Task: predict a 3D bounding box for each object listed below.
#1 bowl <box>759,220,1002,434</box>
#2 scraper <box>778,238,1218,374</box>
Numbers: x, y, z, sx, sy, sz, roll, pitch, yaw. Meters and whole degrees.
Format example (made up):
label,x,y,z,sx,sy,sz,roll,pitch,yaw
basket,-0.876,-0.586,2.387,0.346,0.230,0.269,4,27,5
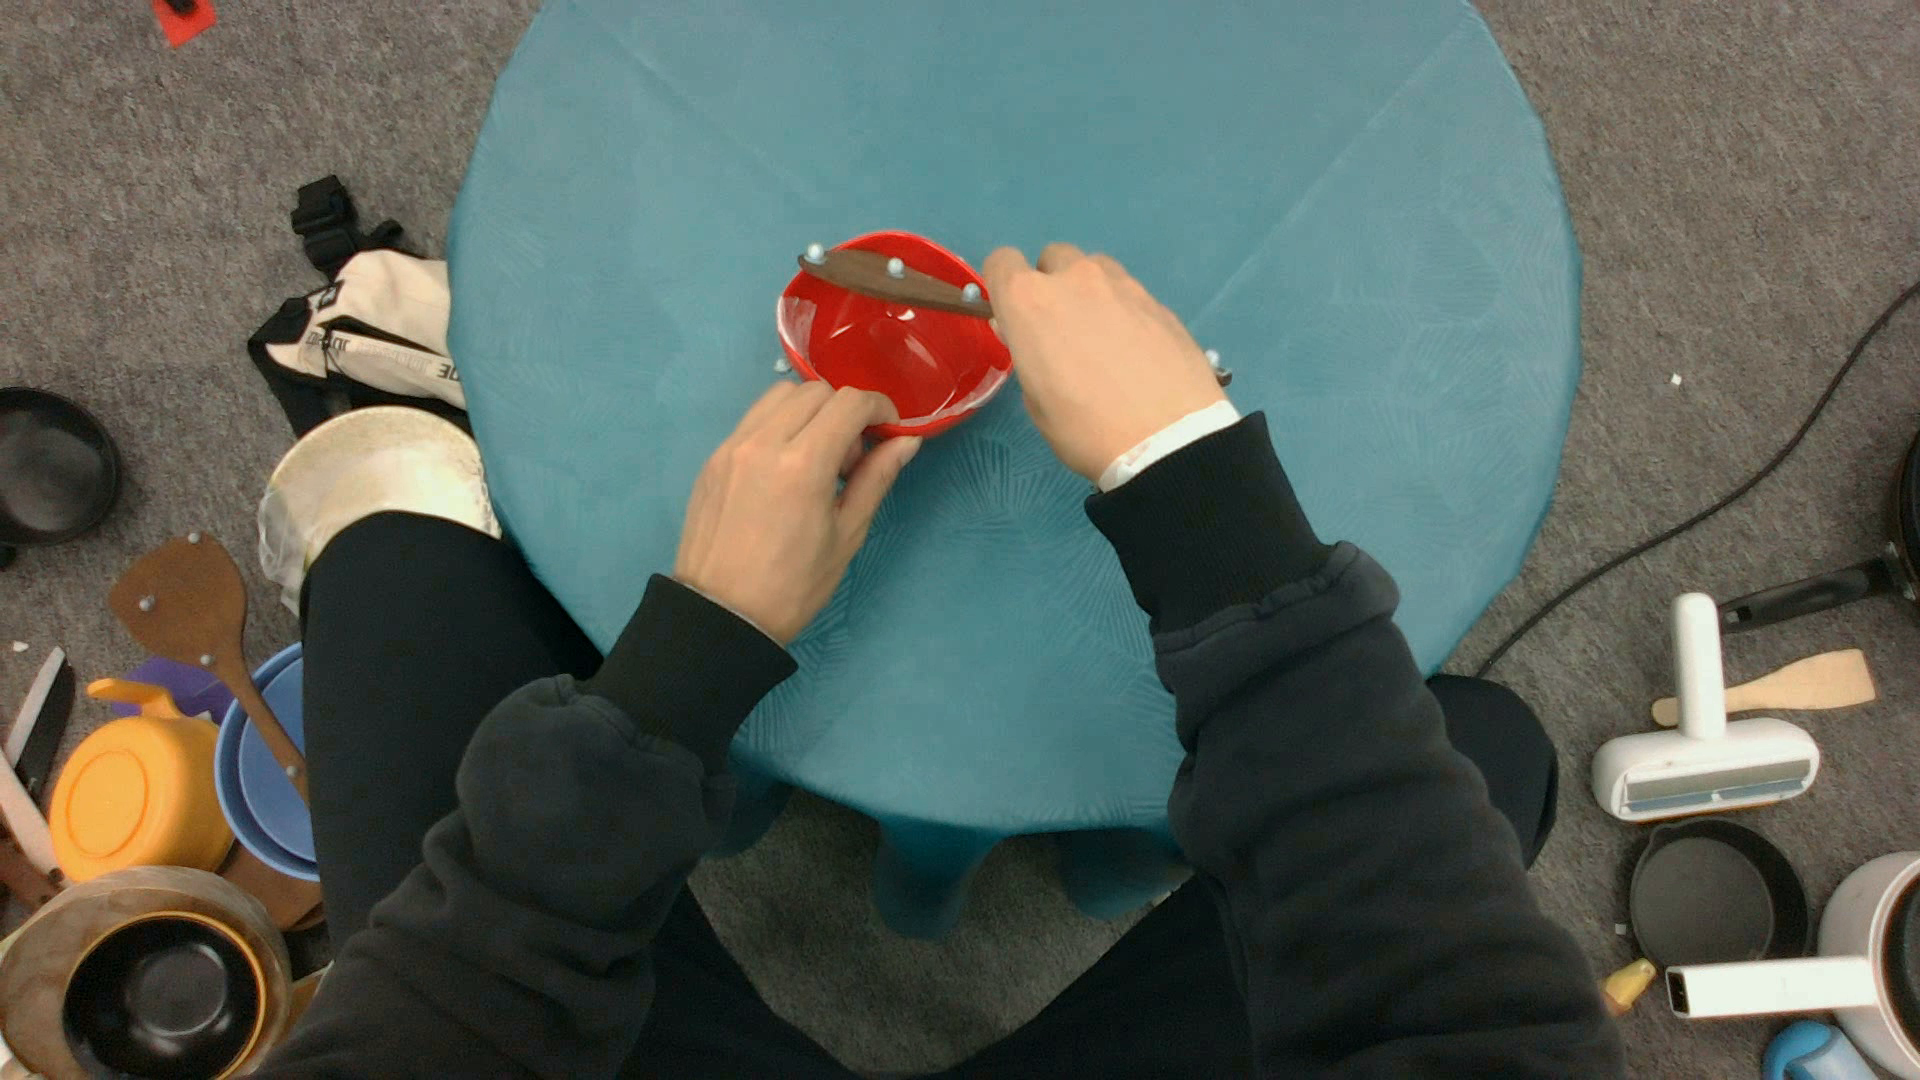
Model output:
label,x,y,z,sx,sy,sz,roll,pitch,yaw
bowl,-0.043,-0.097,0.682,0.119,0.051,0.119,7,59,-12
scraper,0.017,-0.107,0.624,0.211,0.076,0.011,21,112,24
